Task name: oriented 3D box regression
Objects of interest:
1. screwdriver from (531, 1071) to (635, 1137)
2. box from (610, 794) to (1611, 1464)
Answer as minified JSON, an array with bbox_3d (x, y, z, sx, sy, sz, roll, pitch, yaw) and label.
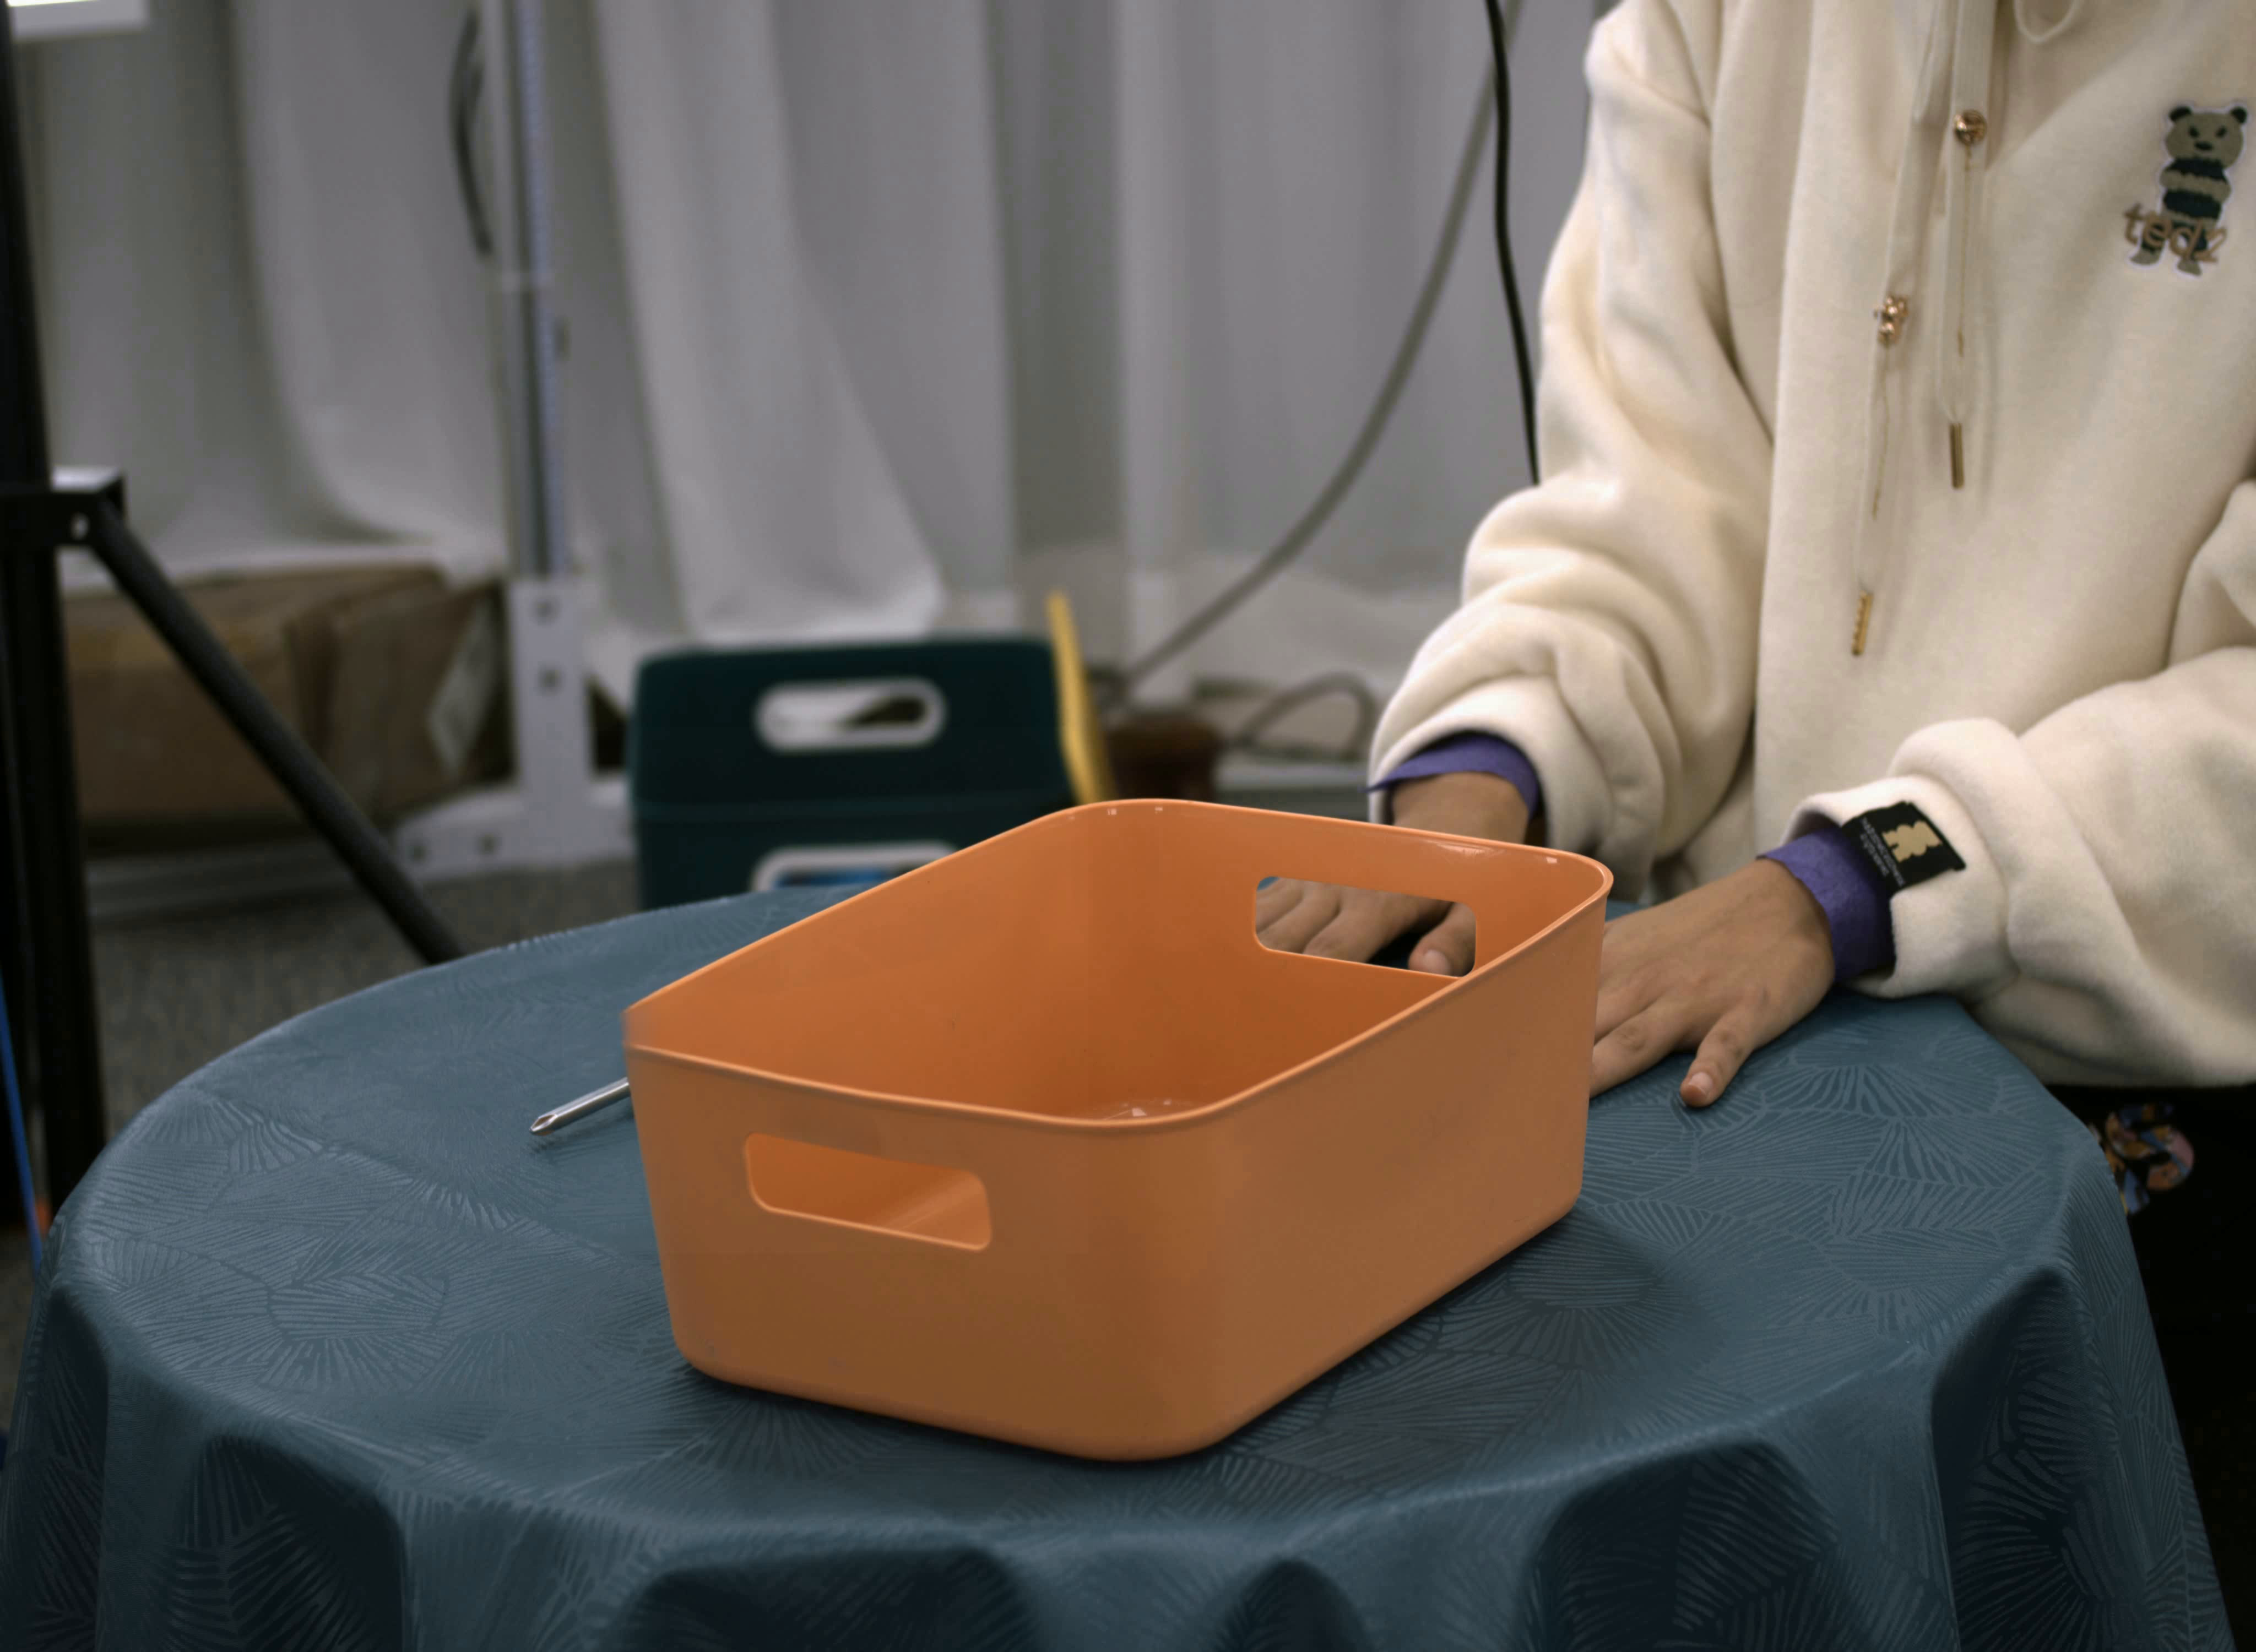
[{"bbox_3d":[-0.124,0.066,1.692,0.032,0.031,0.192,12,25,40],"label":"screwdriver"},{"bbox_3d":[0.003,0.079,1.466,0.203,0.102,0.268,7,18,33],"label":"box"}]
